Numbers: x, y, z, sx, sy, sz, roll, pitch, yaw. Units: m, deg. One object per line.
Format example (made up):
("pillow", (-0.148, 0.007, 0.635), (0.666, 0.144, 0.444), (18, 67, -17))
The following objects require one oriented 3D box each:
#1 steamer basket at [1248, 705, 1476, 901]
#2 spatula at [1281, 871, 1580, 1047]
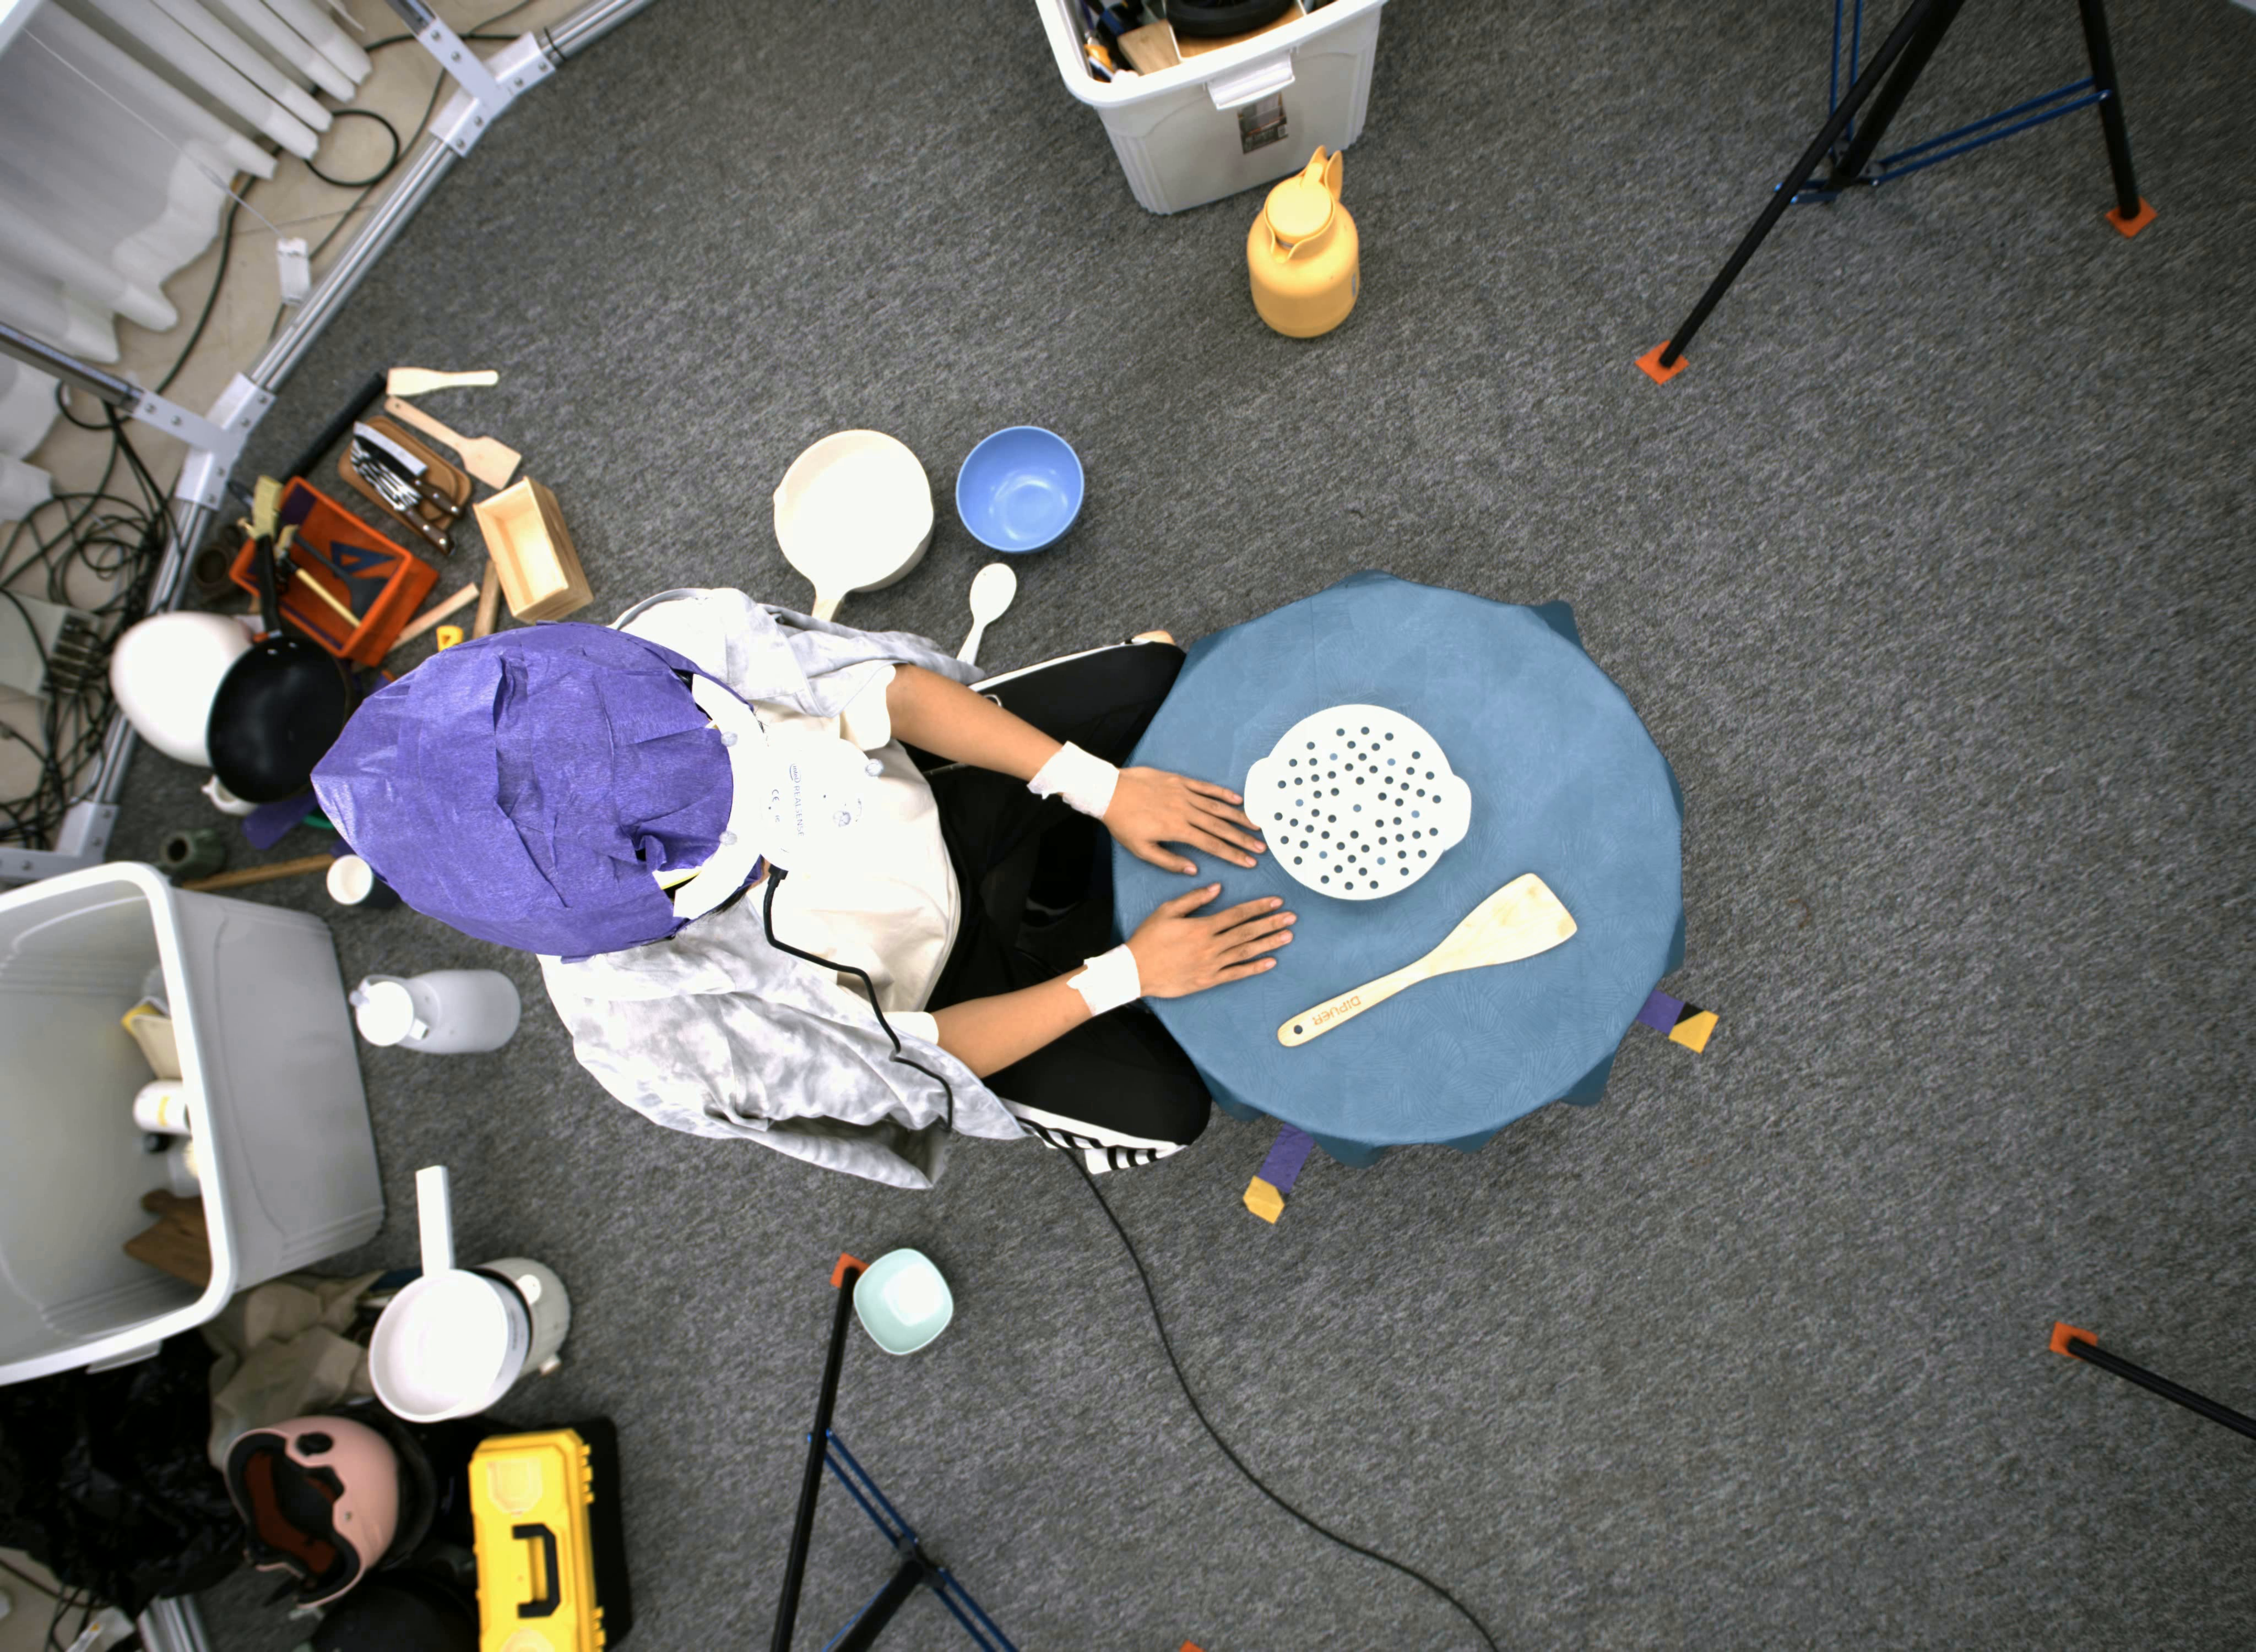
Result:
("steamer basket", (0.242, -0.023, 1.435), (0.231, 0.069, 0.201), (6, 86, 12))
("spatula", (0.306, 0.147, 1.438), (0.329, 0.016, 0.079), (-28, 81, 8))
